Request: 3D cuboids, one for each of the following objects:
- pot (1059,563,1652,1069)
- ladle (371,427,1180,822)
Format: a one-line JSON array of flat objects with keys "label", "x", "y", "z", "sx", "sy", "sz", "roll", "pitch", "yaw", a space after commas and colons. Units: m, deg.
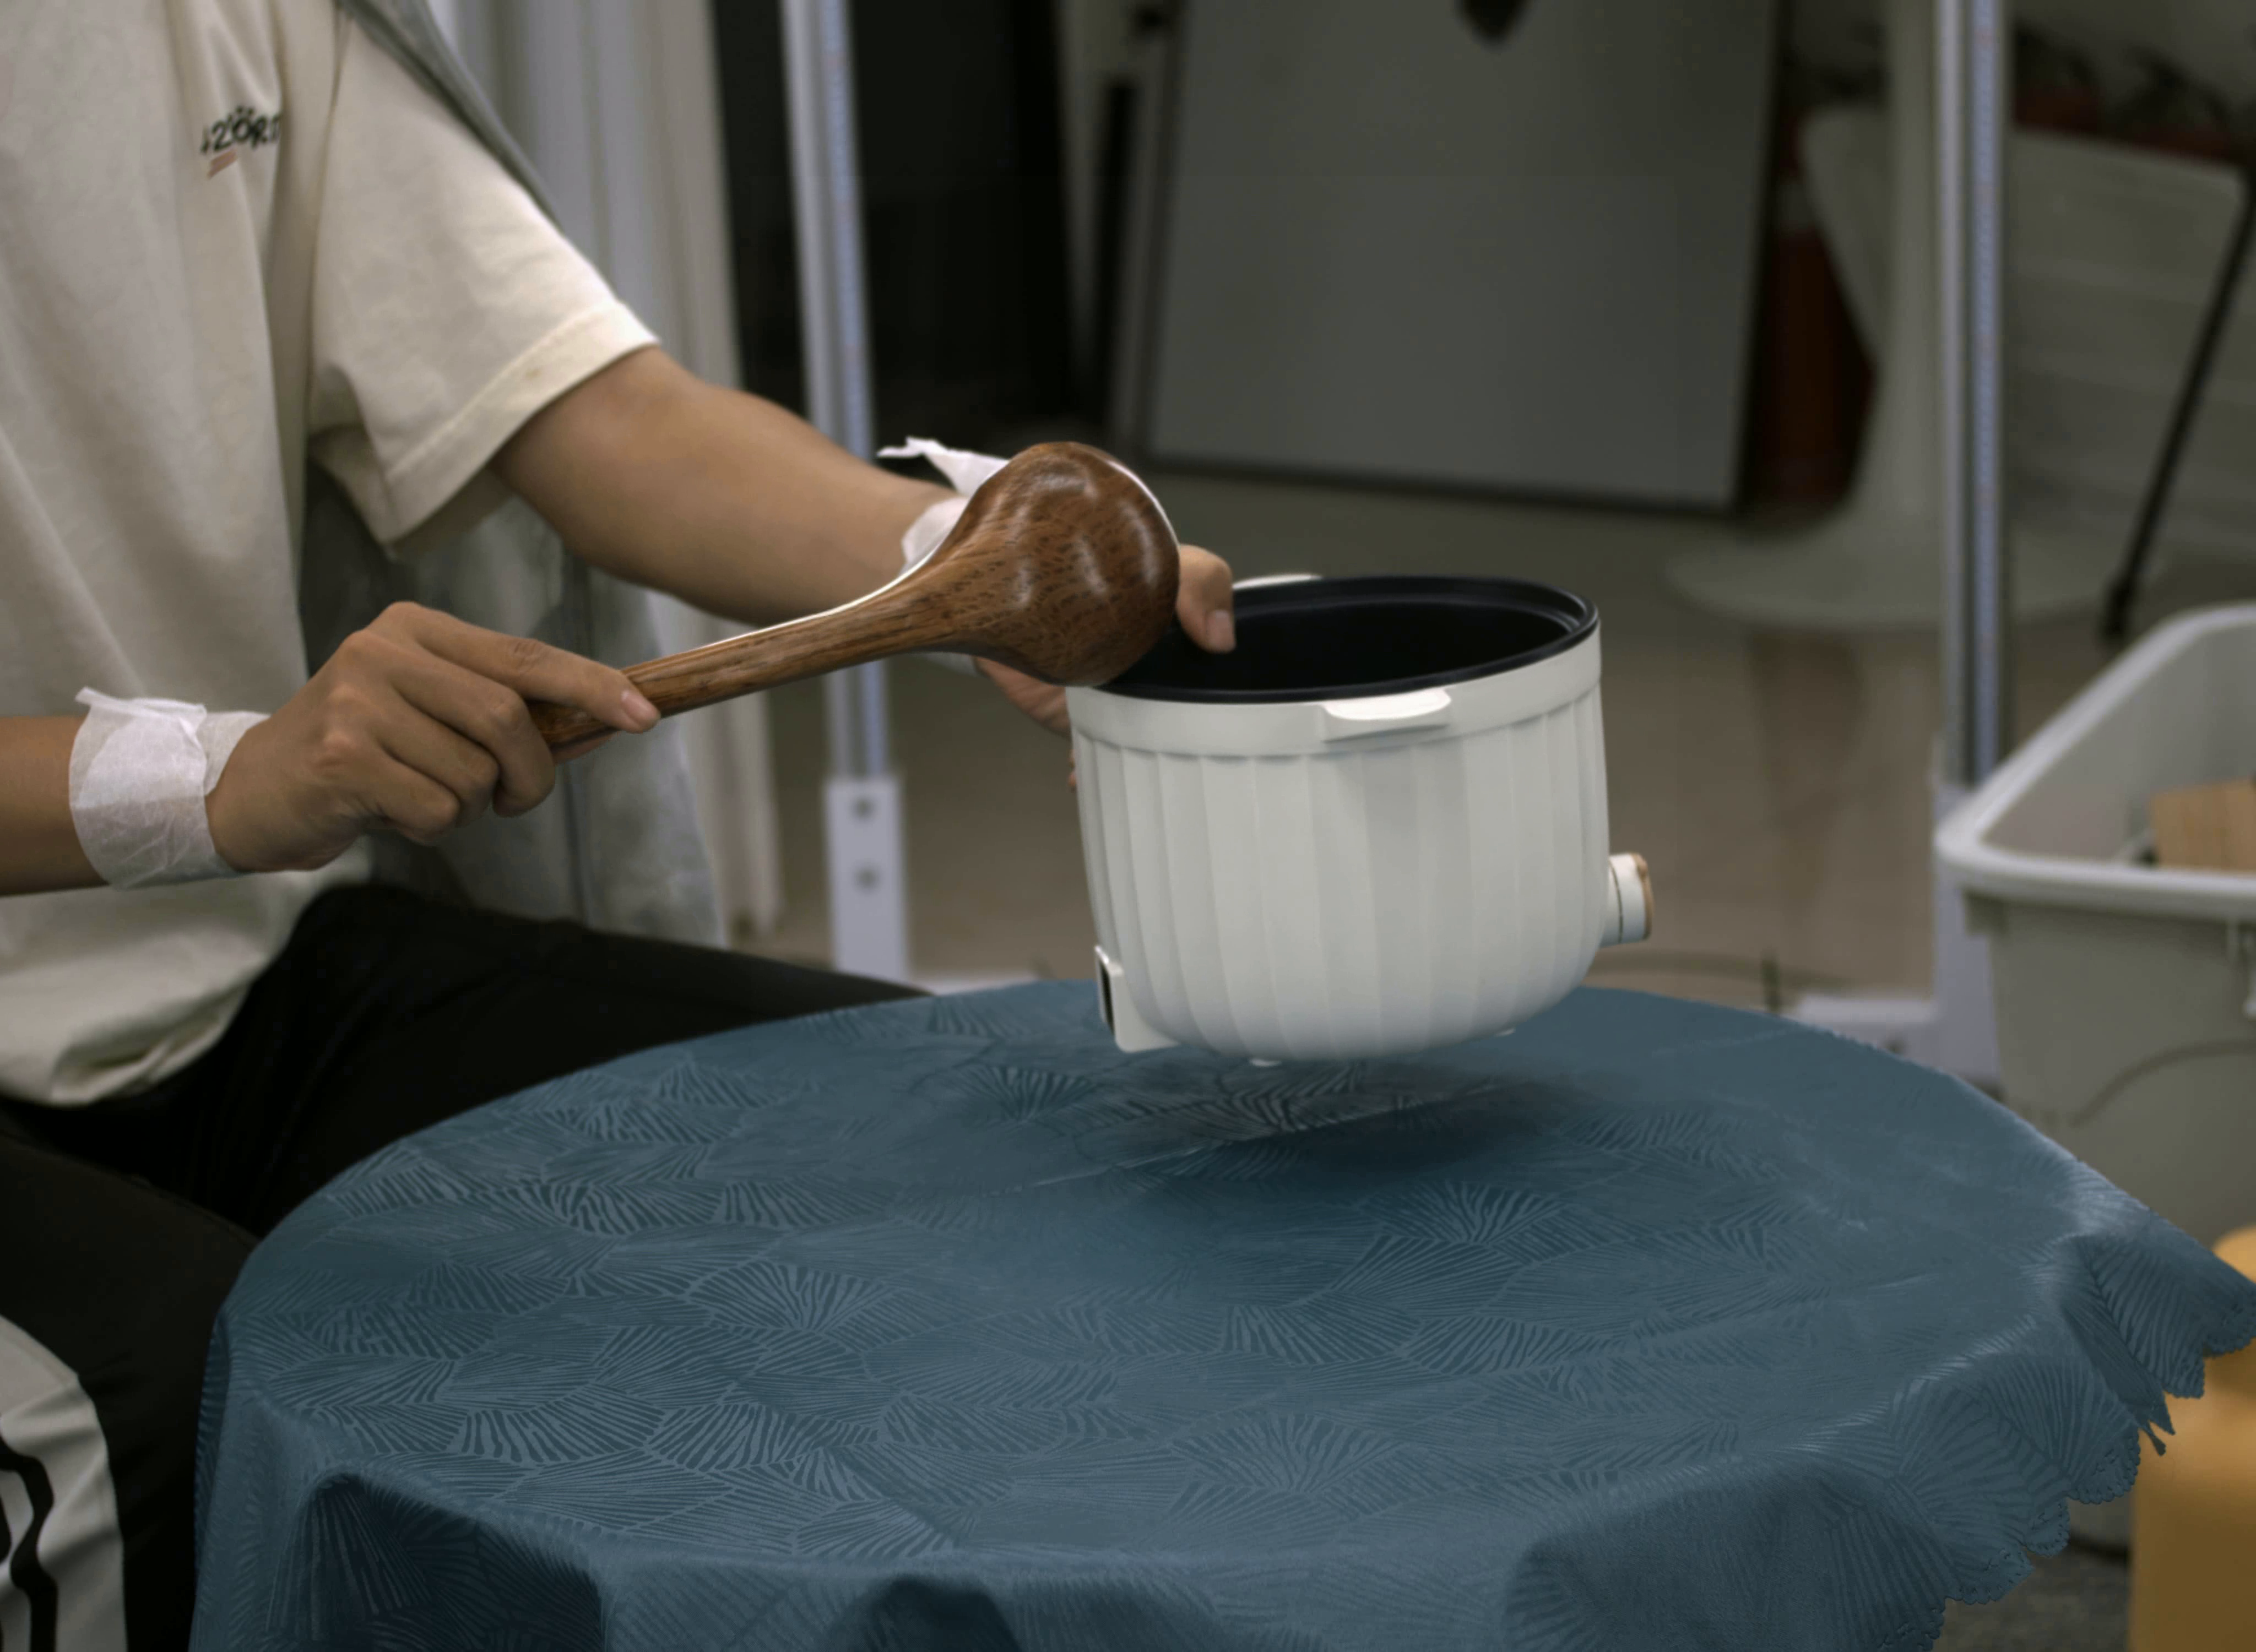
[{"label": "pot", "x": 0.078, "y": -0.003, "z": 1.817, "sx": 0.187, "sy": 0.144, "sz": 0.241, "roll": -11, "pitch": 15, "yaw": -6}, {"label": "ladle", "x": -0.114, "y": -0.057, "z": 1.774, "sx": 0.273, "sy": 0.083, "sz": 0.076, "roll": -18, "pitch": -3, "yaw": 15}]
